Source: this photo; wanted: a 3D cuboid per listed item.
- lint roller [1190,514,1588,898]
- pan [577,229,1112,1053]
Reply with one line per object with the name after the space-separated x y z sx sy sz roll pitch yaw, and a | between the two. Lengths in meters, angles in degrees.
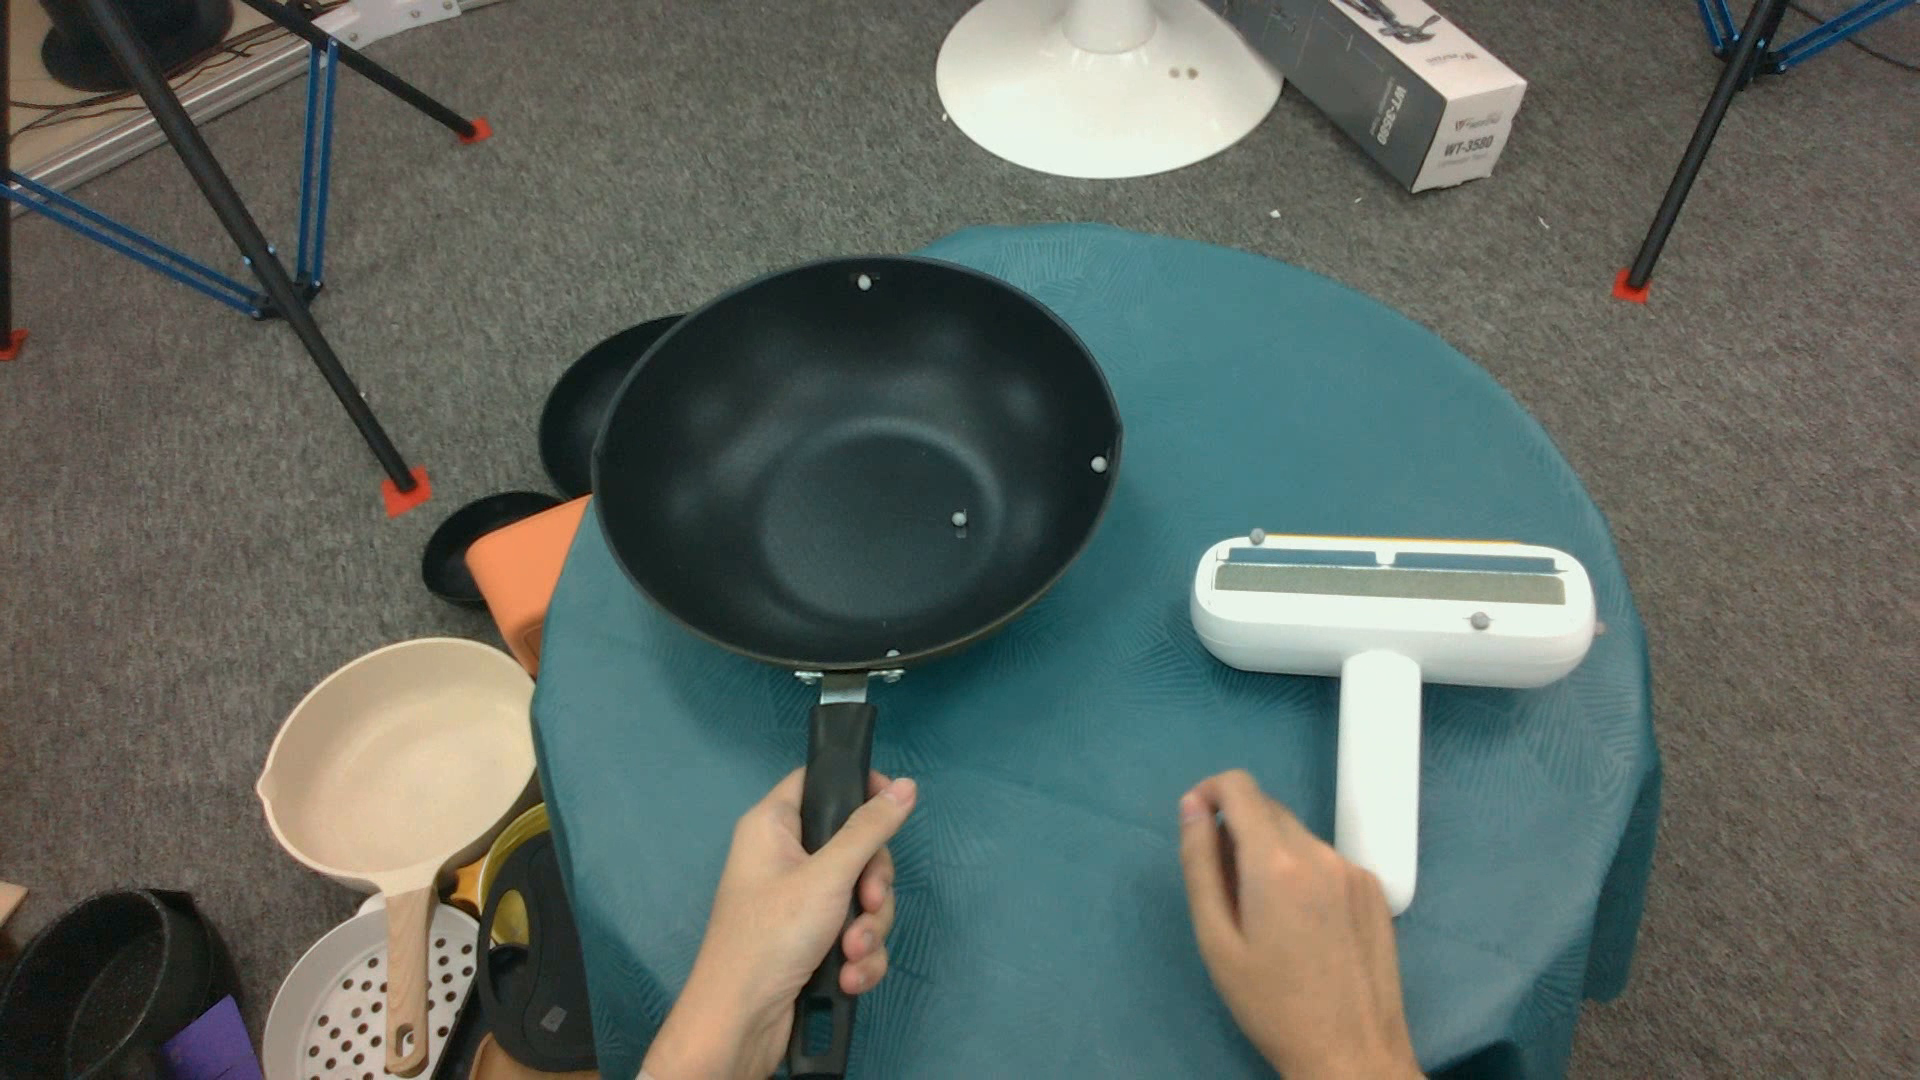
0.201 0.077 0.677 0.192 0.074 0.193 8 56 15 | lint roller
-0.061 0.032 0.716 0.288 0.086 0.465 -2 57 2 | pan
